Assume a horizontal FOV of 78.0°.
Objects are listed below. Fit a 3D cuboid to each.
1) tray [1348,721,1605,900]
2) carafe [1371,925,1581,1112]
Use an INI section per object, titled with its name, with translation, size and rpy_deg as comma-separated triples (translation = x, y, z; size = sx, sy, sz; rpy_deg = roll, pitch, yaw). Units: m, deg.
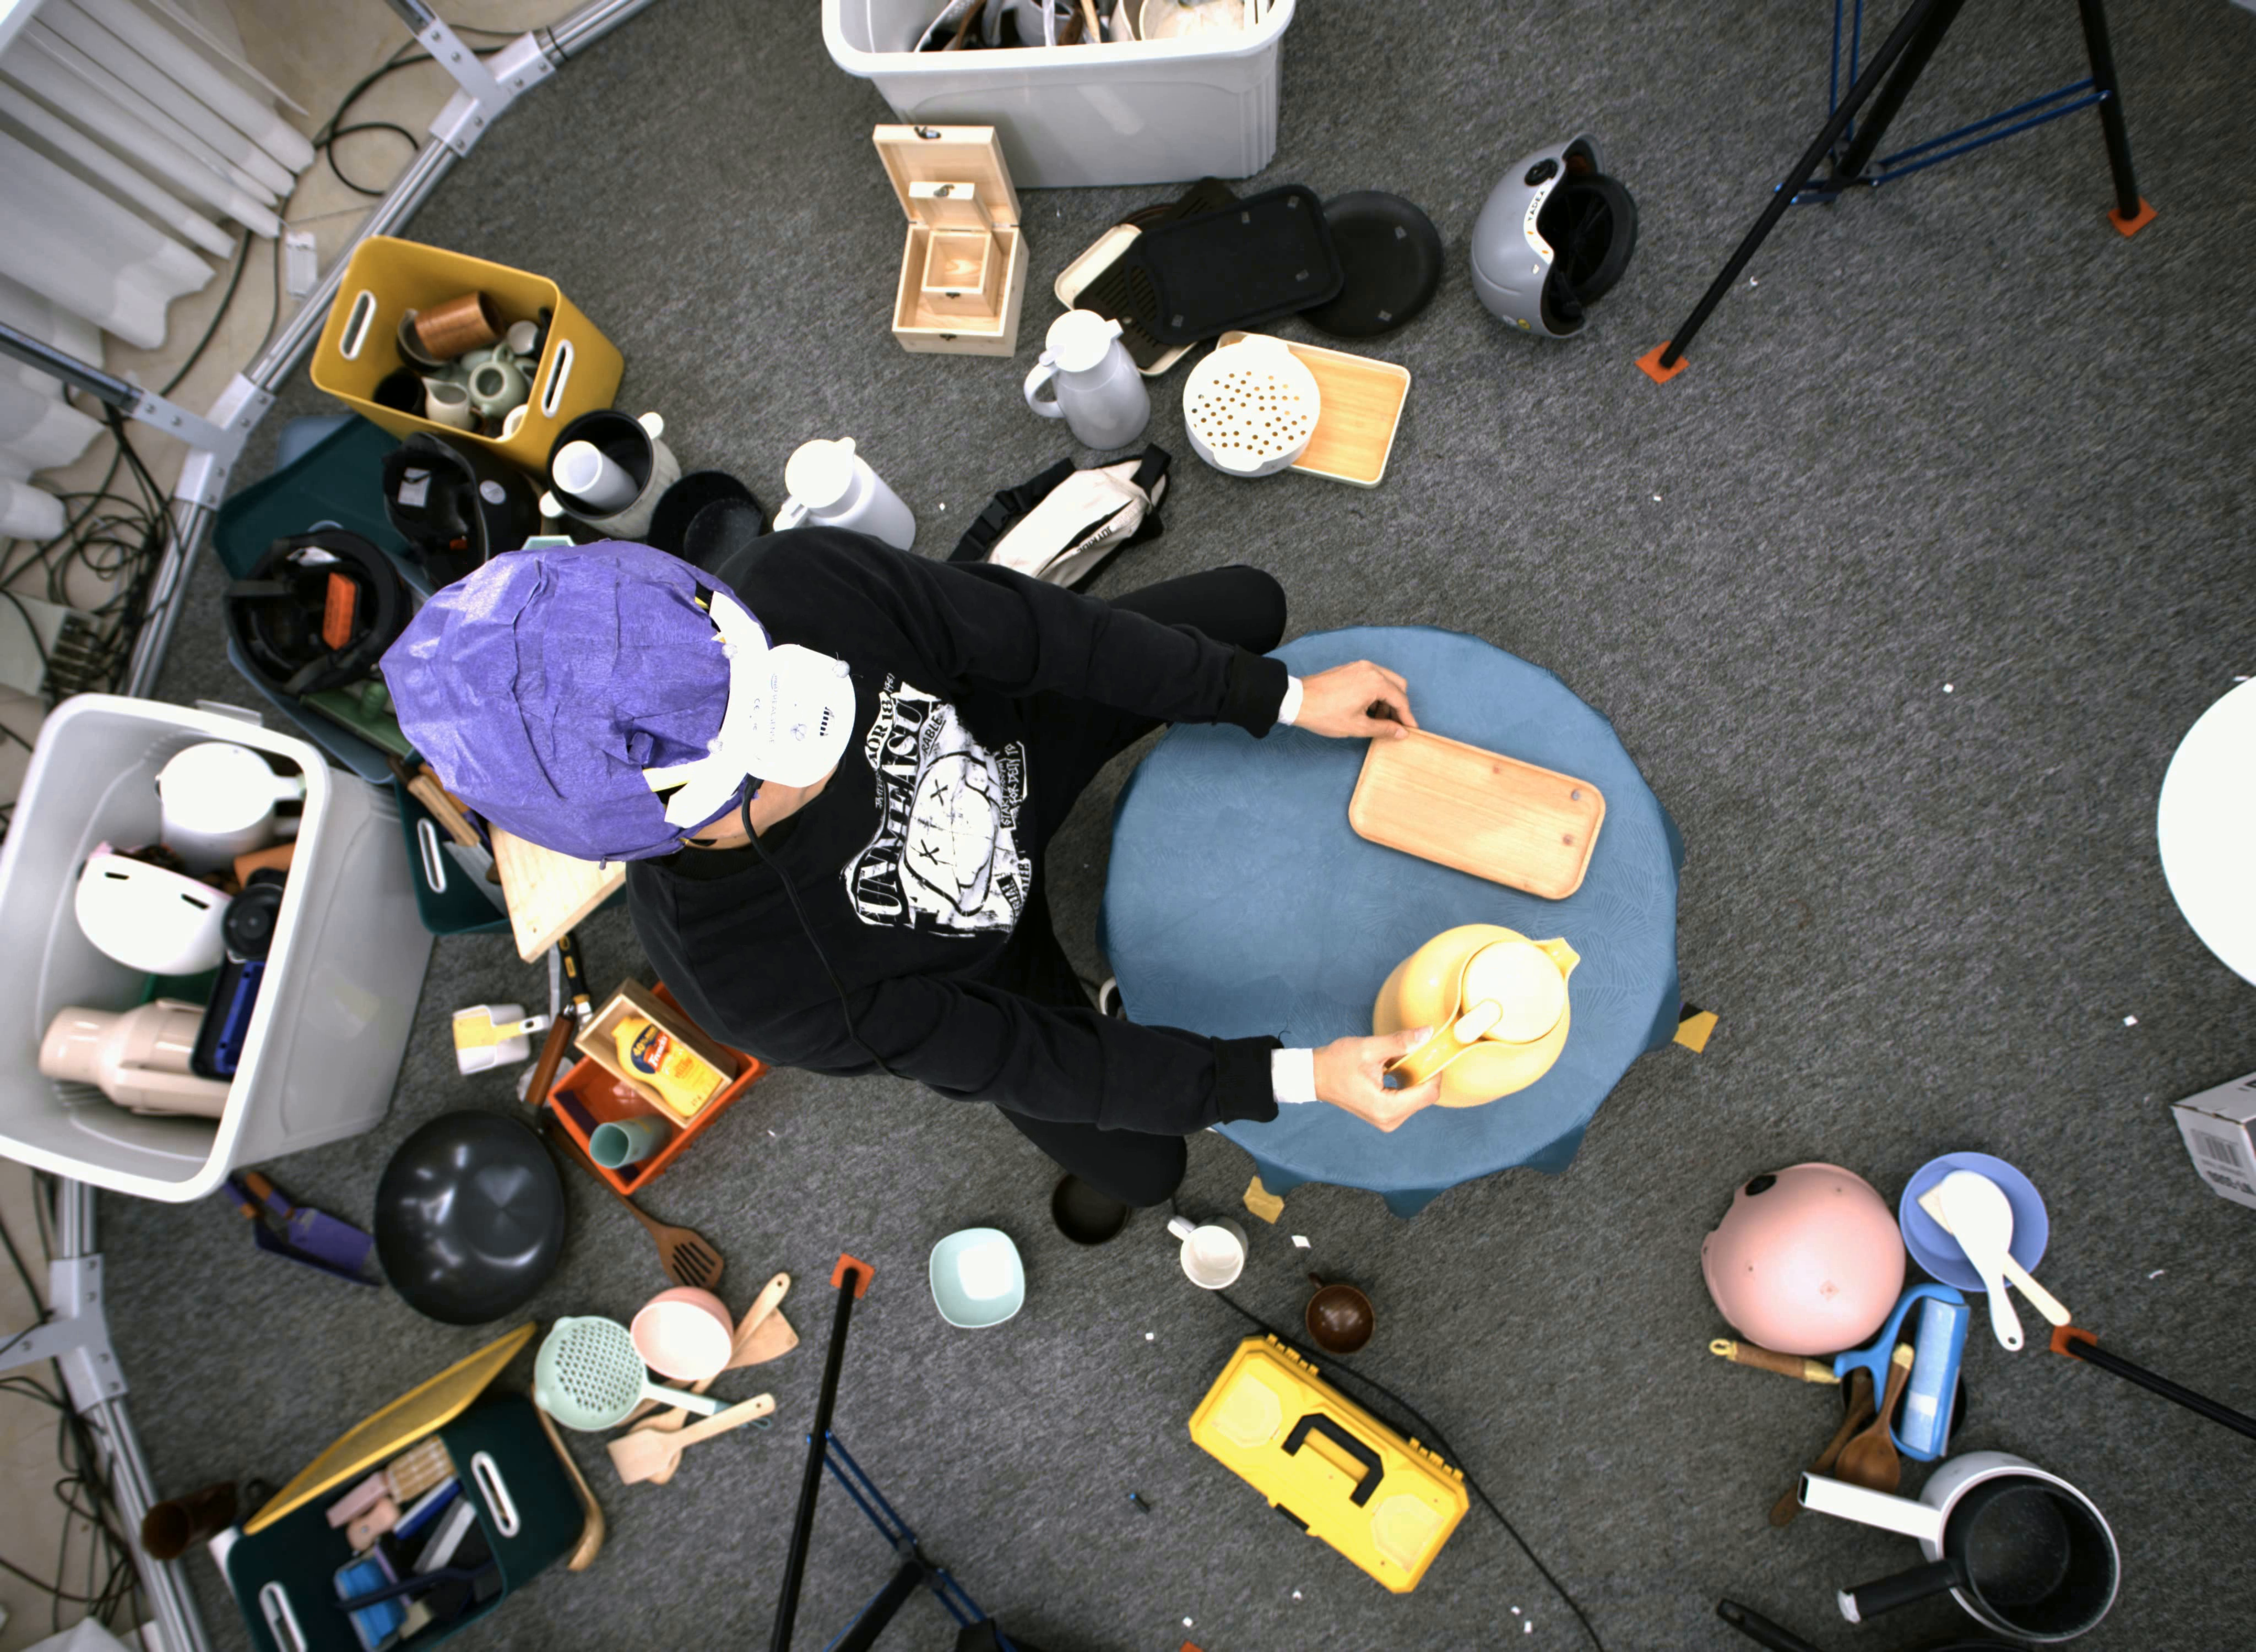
[tray]
translation = 0.361, -0.018, 1.434
size = 0.251, 0.023, 0.131
rpy_deg = 20, 94, 11
[carafe]
translation = 0.313, 0.184, 1.299
size = 0.201, 0.264, 0.162
rpy_deg = -34, 75, -12
